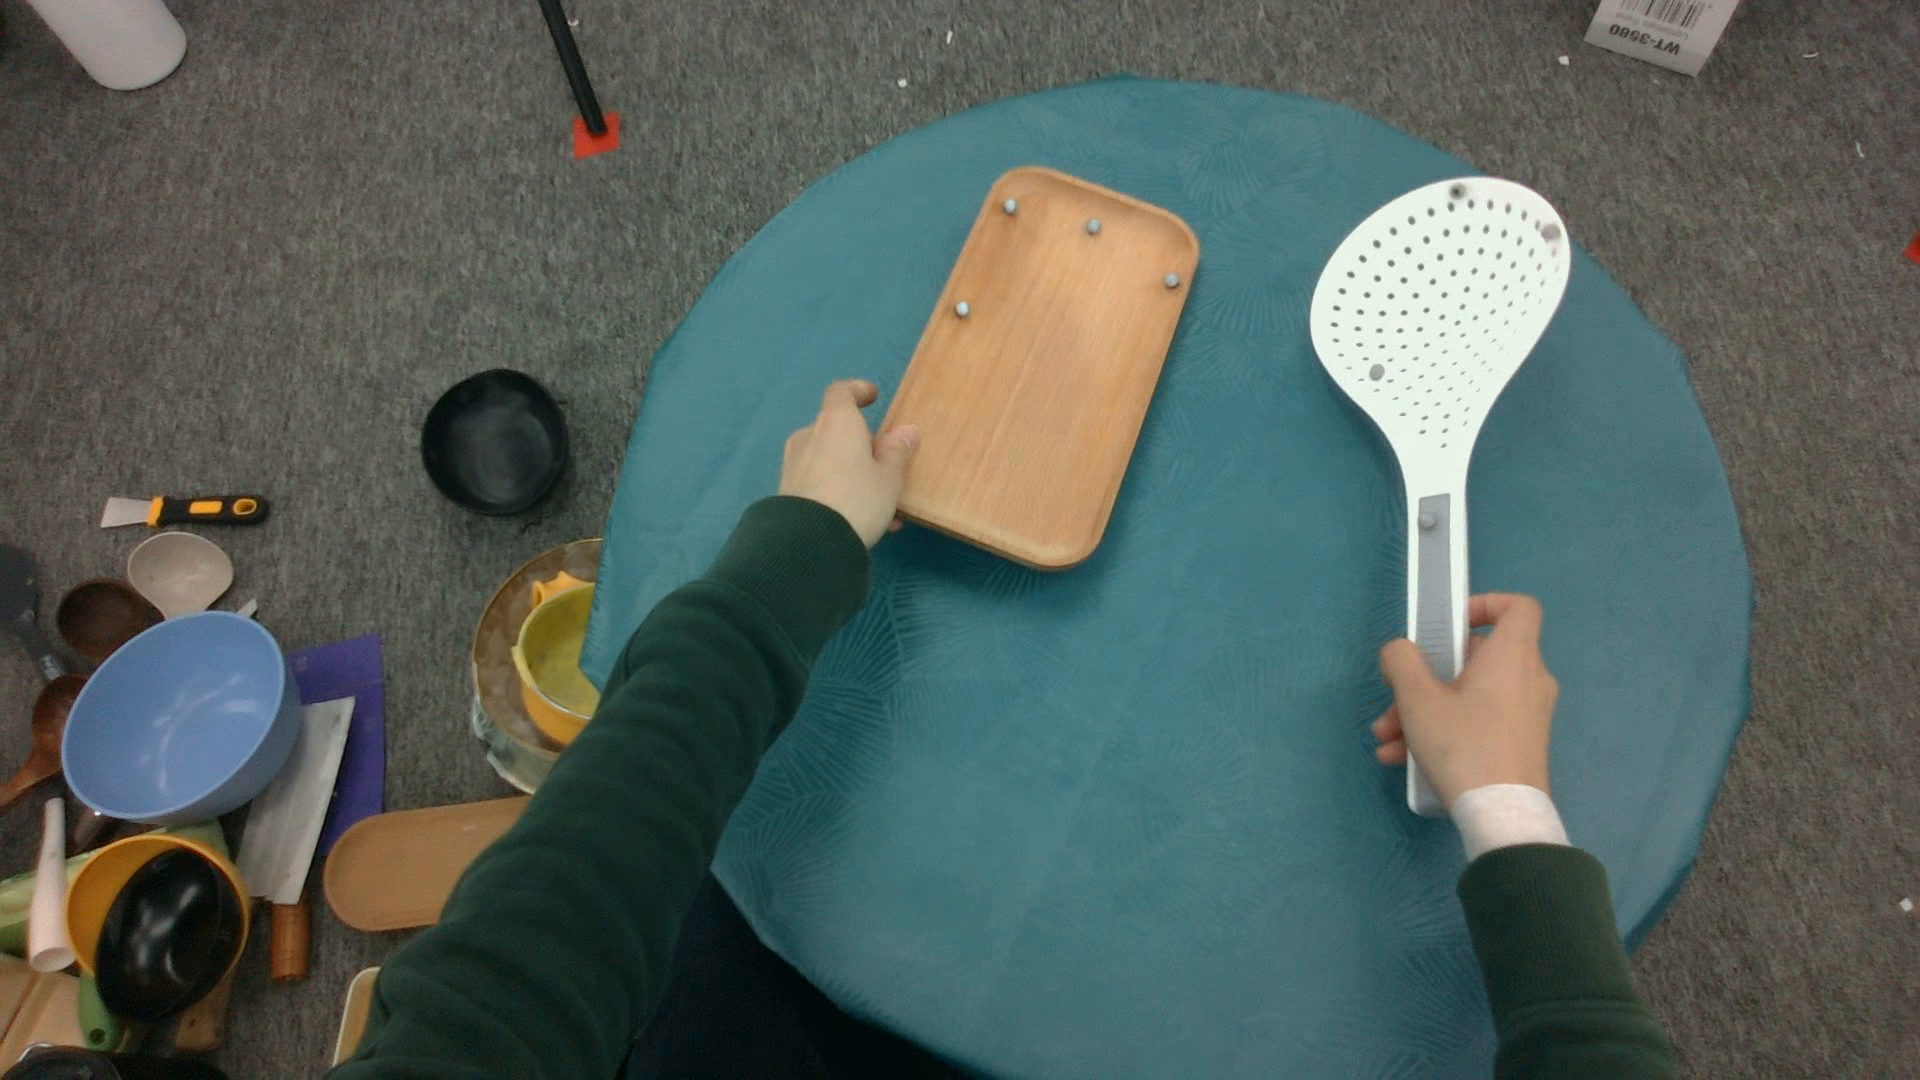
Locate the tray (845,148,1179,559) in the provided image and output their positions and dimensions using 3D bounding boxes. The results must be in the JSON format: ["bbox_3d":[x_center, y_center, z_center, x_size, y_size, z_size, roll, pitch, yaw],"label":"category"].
[{"bbox_3d":[0.033,-0.108,0.749,0.130,0.023,0.252,20,62,3],"label":"tray"}]

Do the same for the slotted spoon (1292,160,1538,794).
[{"bbox_3d":[0.231,-0.044,0.698,0.135,0.046,0.351,-12,55,38],"label":"slotted spoon"}]
